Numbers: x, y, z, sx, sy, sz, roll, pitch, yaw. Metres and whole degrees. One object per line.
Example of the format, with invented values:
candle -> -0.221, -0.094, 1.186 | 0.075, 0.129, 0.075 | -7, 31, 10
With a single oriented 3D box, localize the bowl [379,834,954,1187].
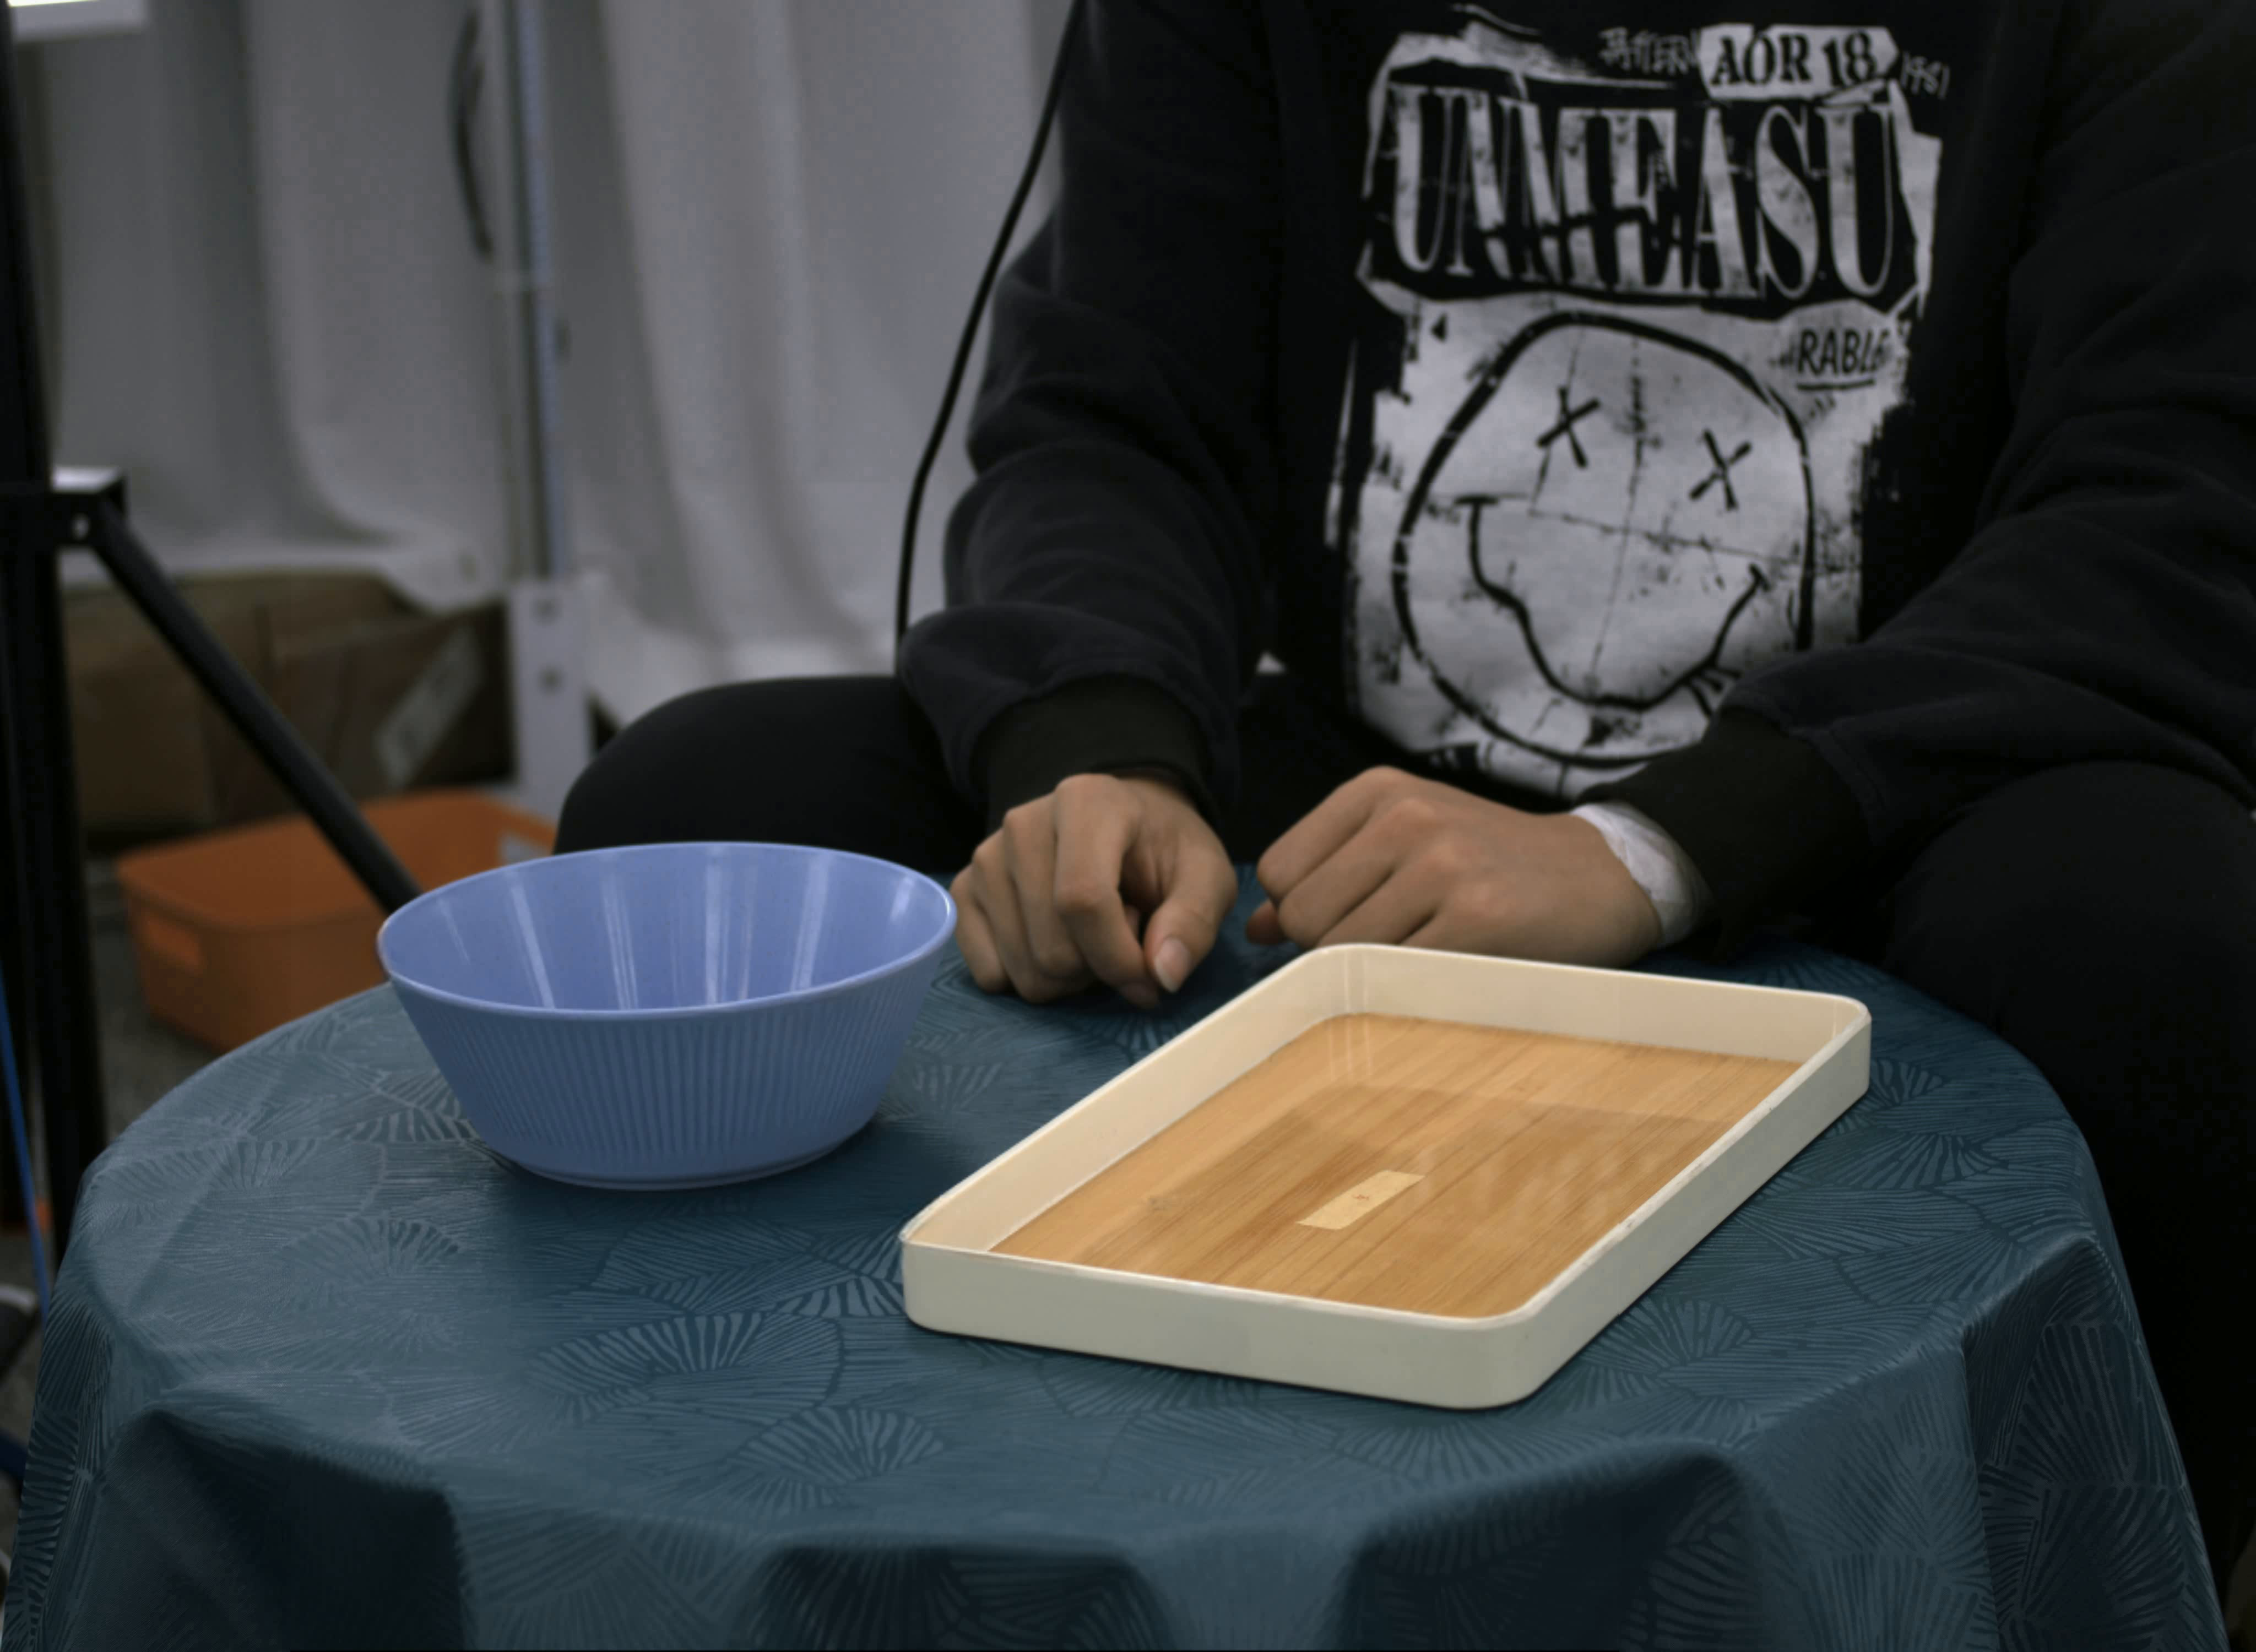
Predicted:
bowl -> -0.138, 0.059, 1.623 | 0.175, 0.070, 0.177 | -3, 17, -1

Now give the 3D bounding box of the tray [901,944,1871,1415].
tray -> 0.082, 0.096, 1.537 | 0.195, 0.027, 0.295 | 6, 18, 27
